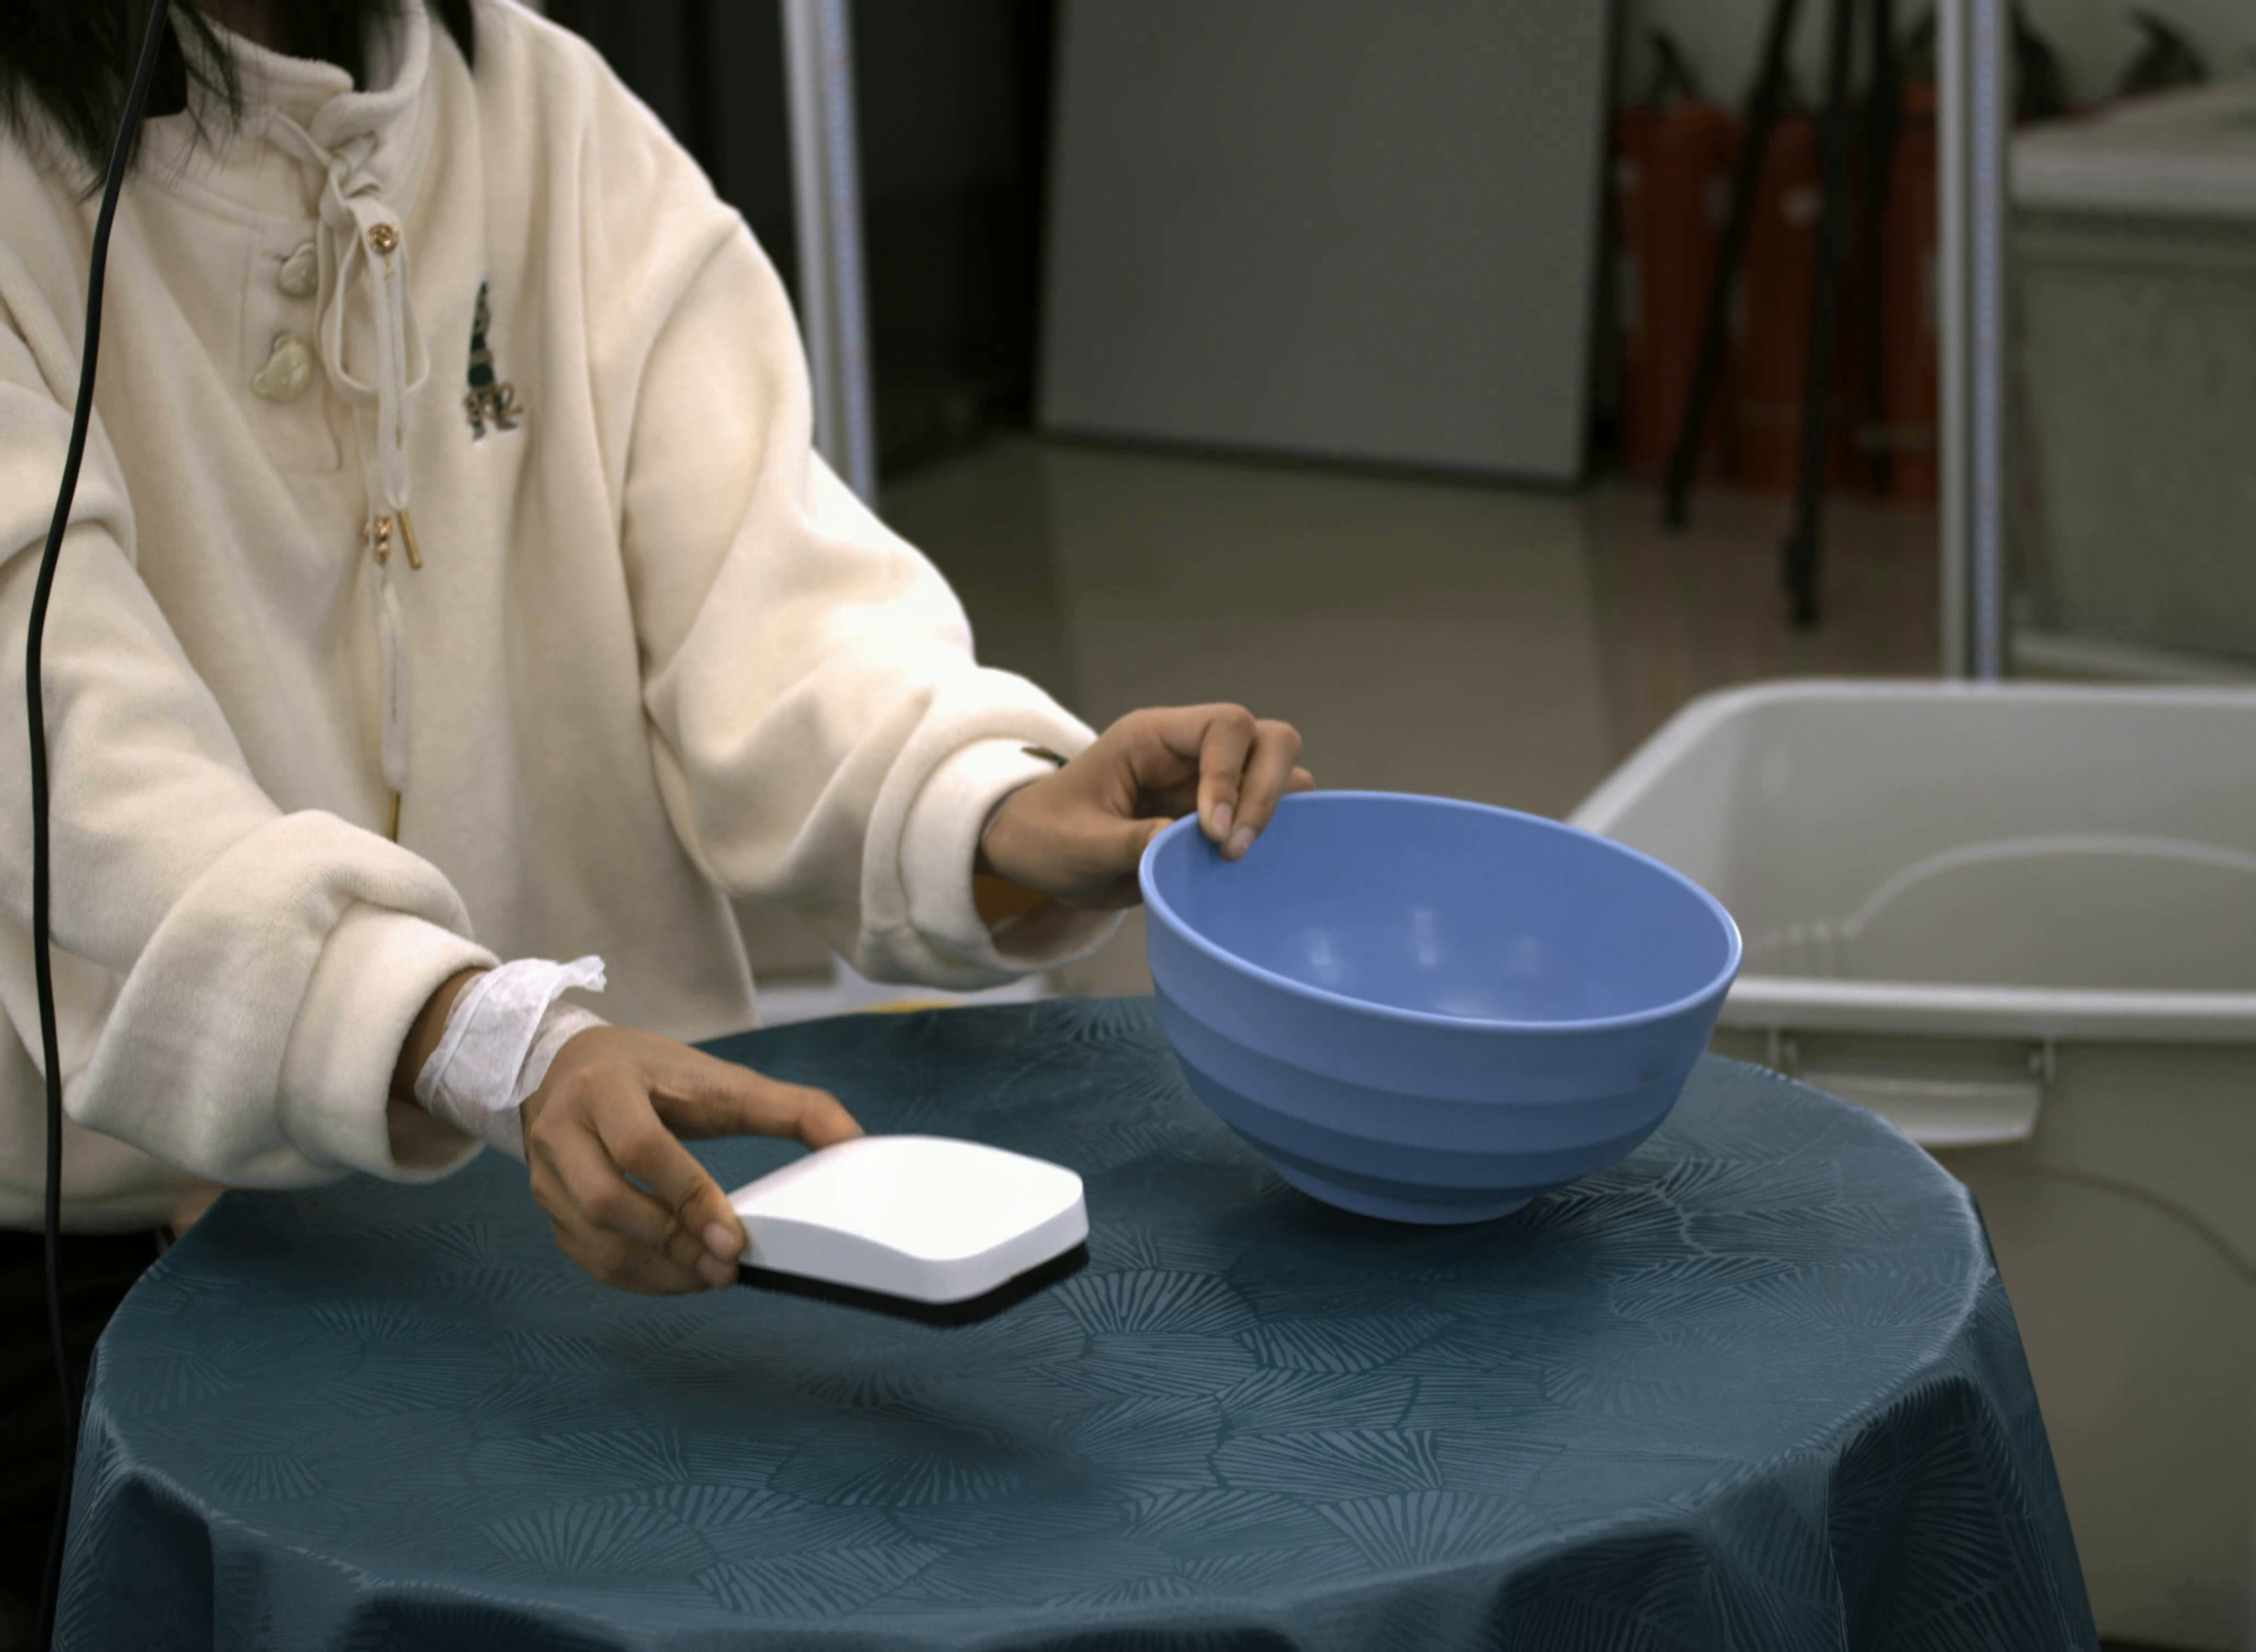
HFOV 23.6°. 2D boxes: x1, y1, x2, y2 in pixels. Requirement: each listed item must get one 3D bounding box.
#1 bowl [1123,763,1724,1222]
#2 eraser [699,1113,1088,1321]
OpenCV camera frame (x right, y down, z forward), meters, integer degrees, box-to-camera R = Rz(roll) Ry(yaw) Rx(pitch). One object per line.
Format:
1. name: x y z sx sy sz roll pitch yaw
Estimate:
1. bowl: 0.088 0.063 1.735 0.193 0.096 0.197 7 25 -4
2. eraser: -0.067 0.113 1.569 0.062 0.035 0.132 -25 17 -34
